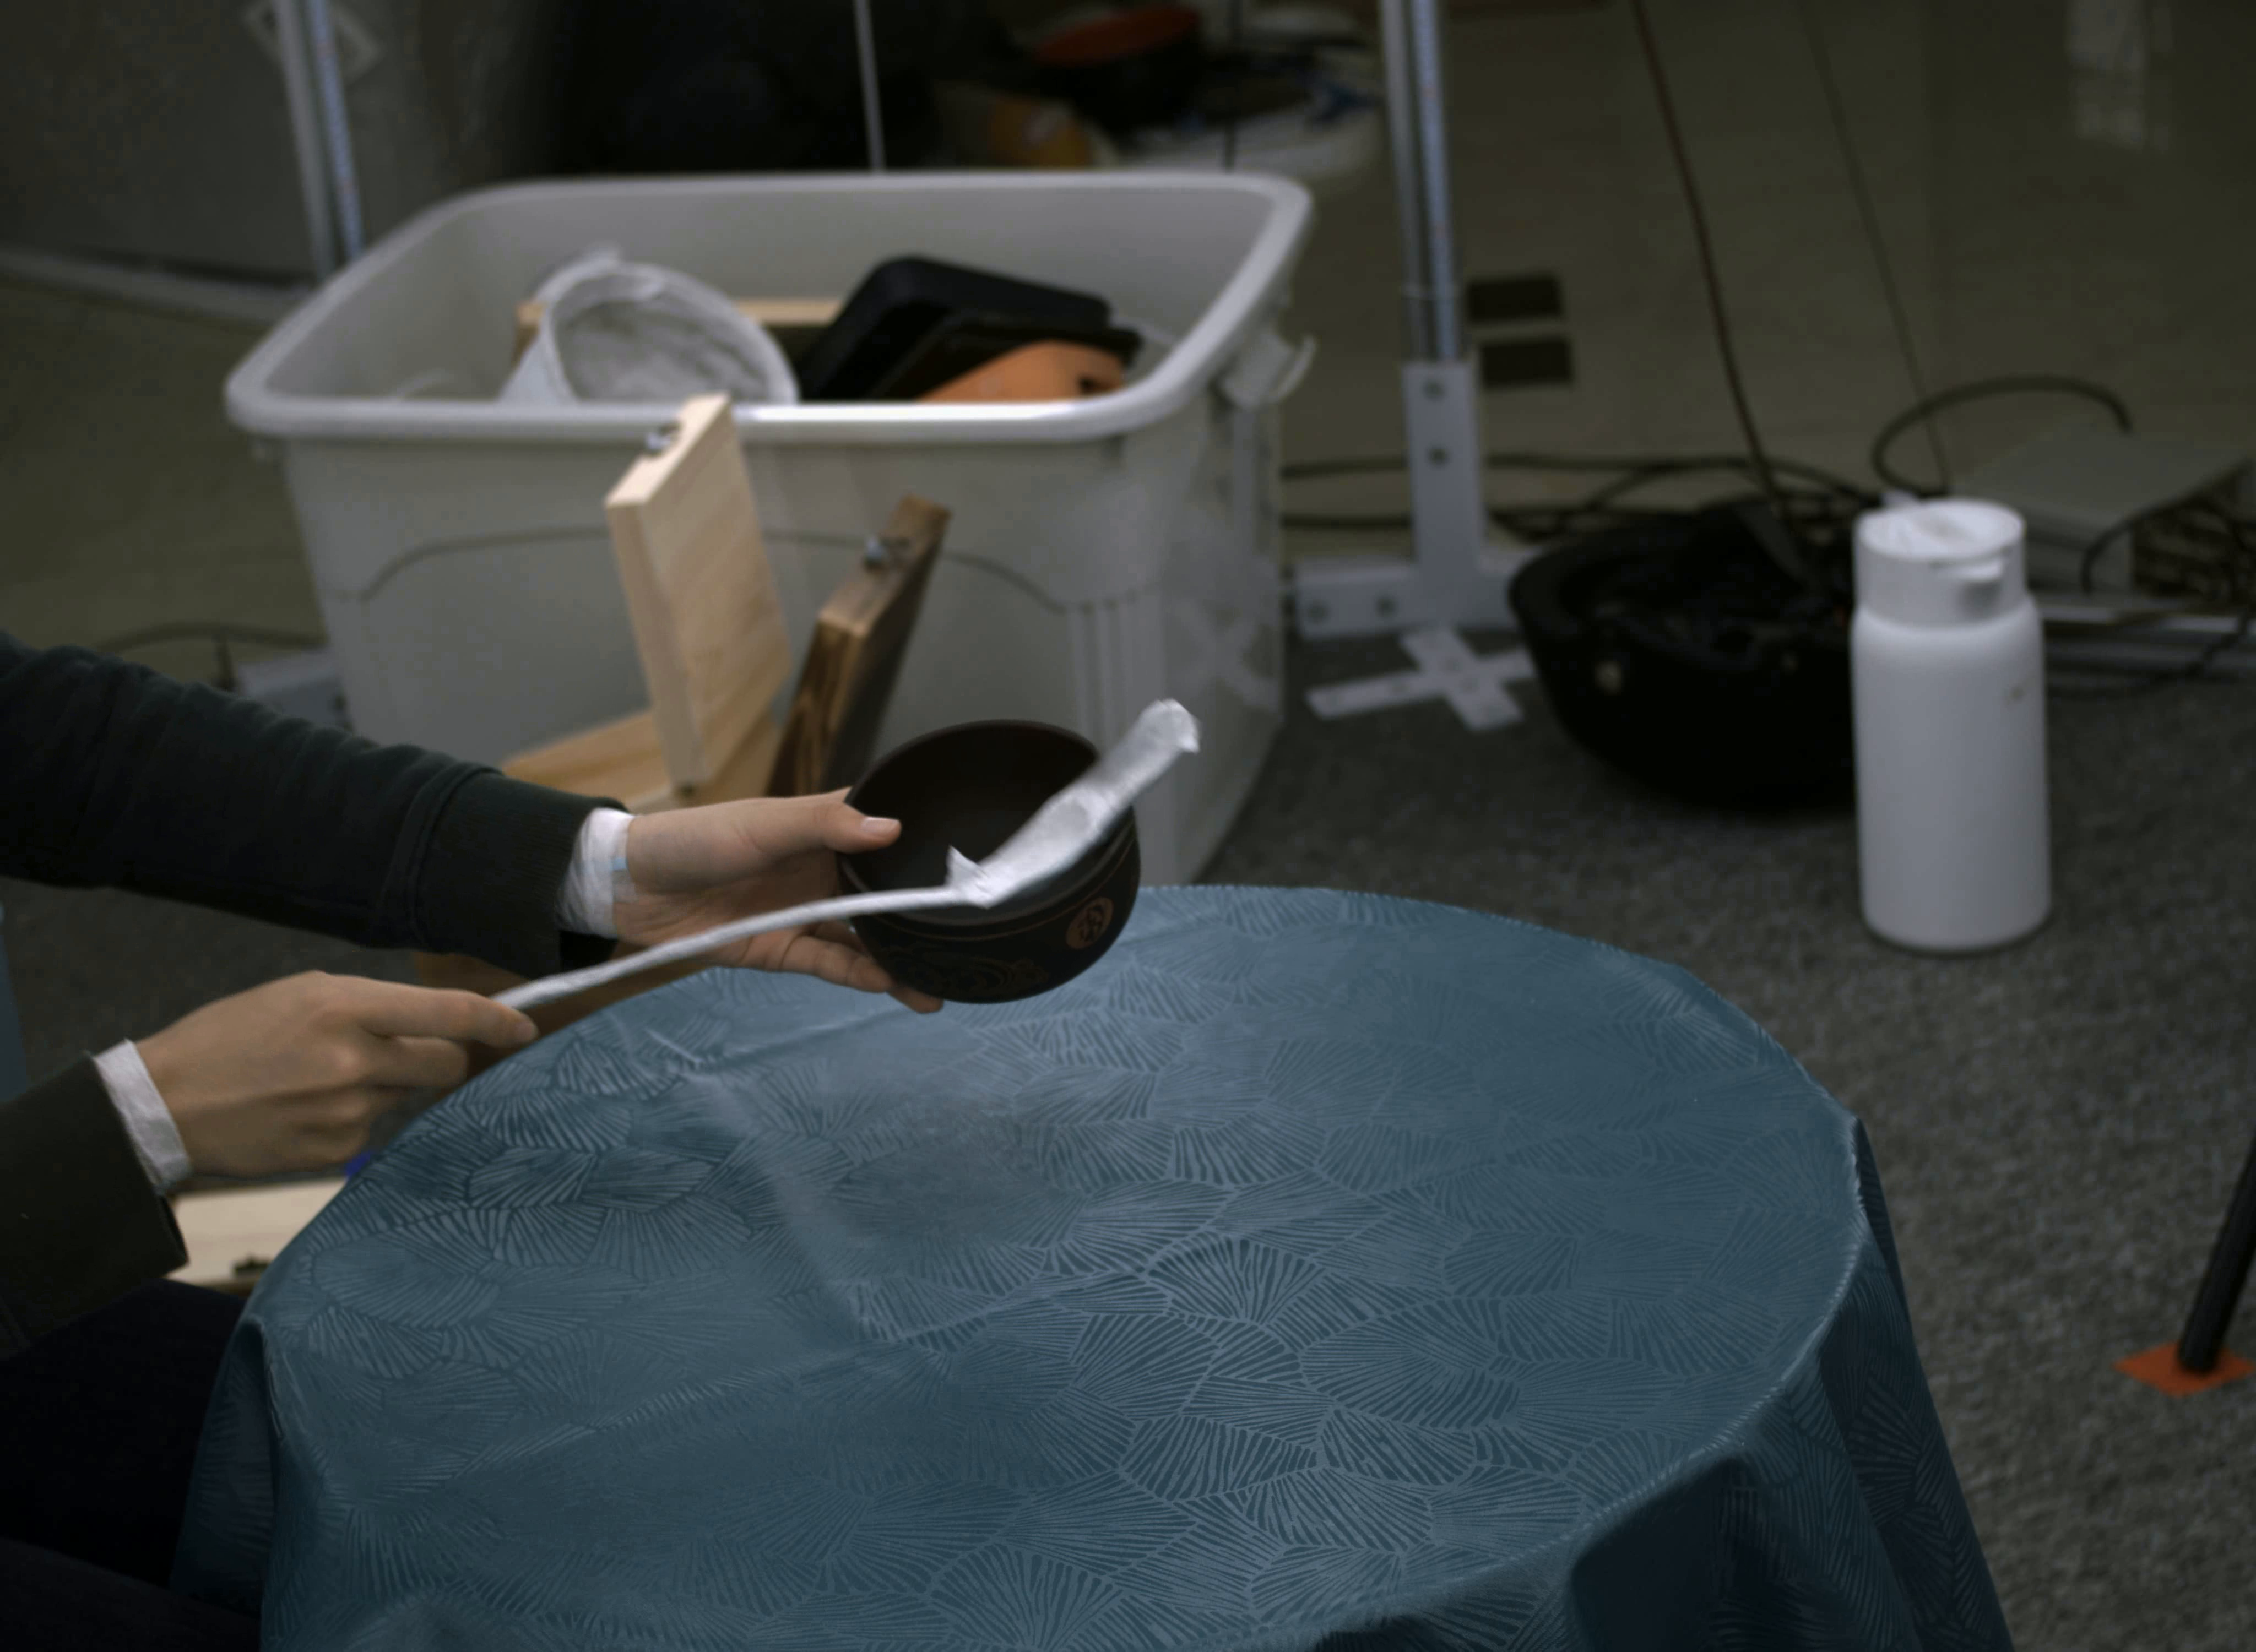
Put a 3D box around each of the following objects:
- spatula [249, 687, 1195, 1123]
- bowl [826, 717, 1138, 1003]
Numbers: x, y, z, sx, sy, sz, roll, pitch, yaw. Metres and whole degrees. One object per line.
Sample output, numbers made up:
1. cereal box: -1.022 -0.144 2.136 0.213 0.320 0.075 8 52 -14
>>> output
1. spatula: -0.144 0.032 1.981 0.364 0.045 0.098 -18 15 3
2. bowl: -0.053 0.022 2.157 0.118 0.071 0.116 -6 43 5
